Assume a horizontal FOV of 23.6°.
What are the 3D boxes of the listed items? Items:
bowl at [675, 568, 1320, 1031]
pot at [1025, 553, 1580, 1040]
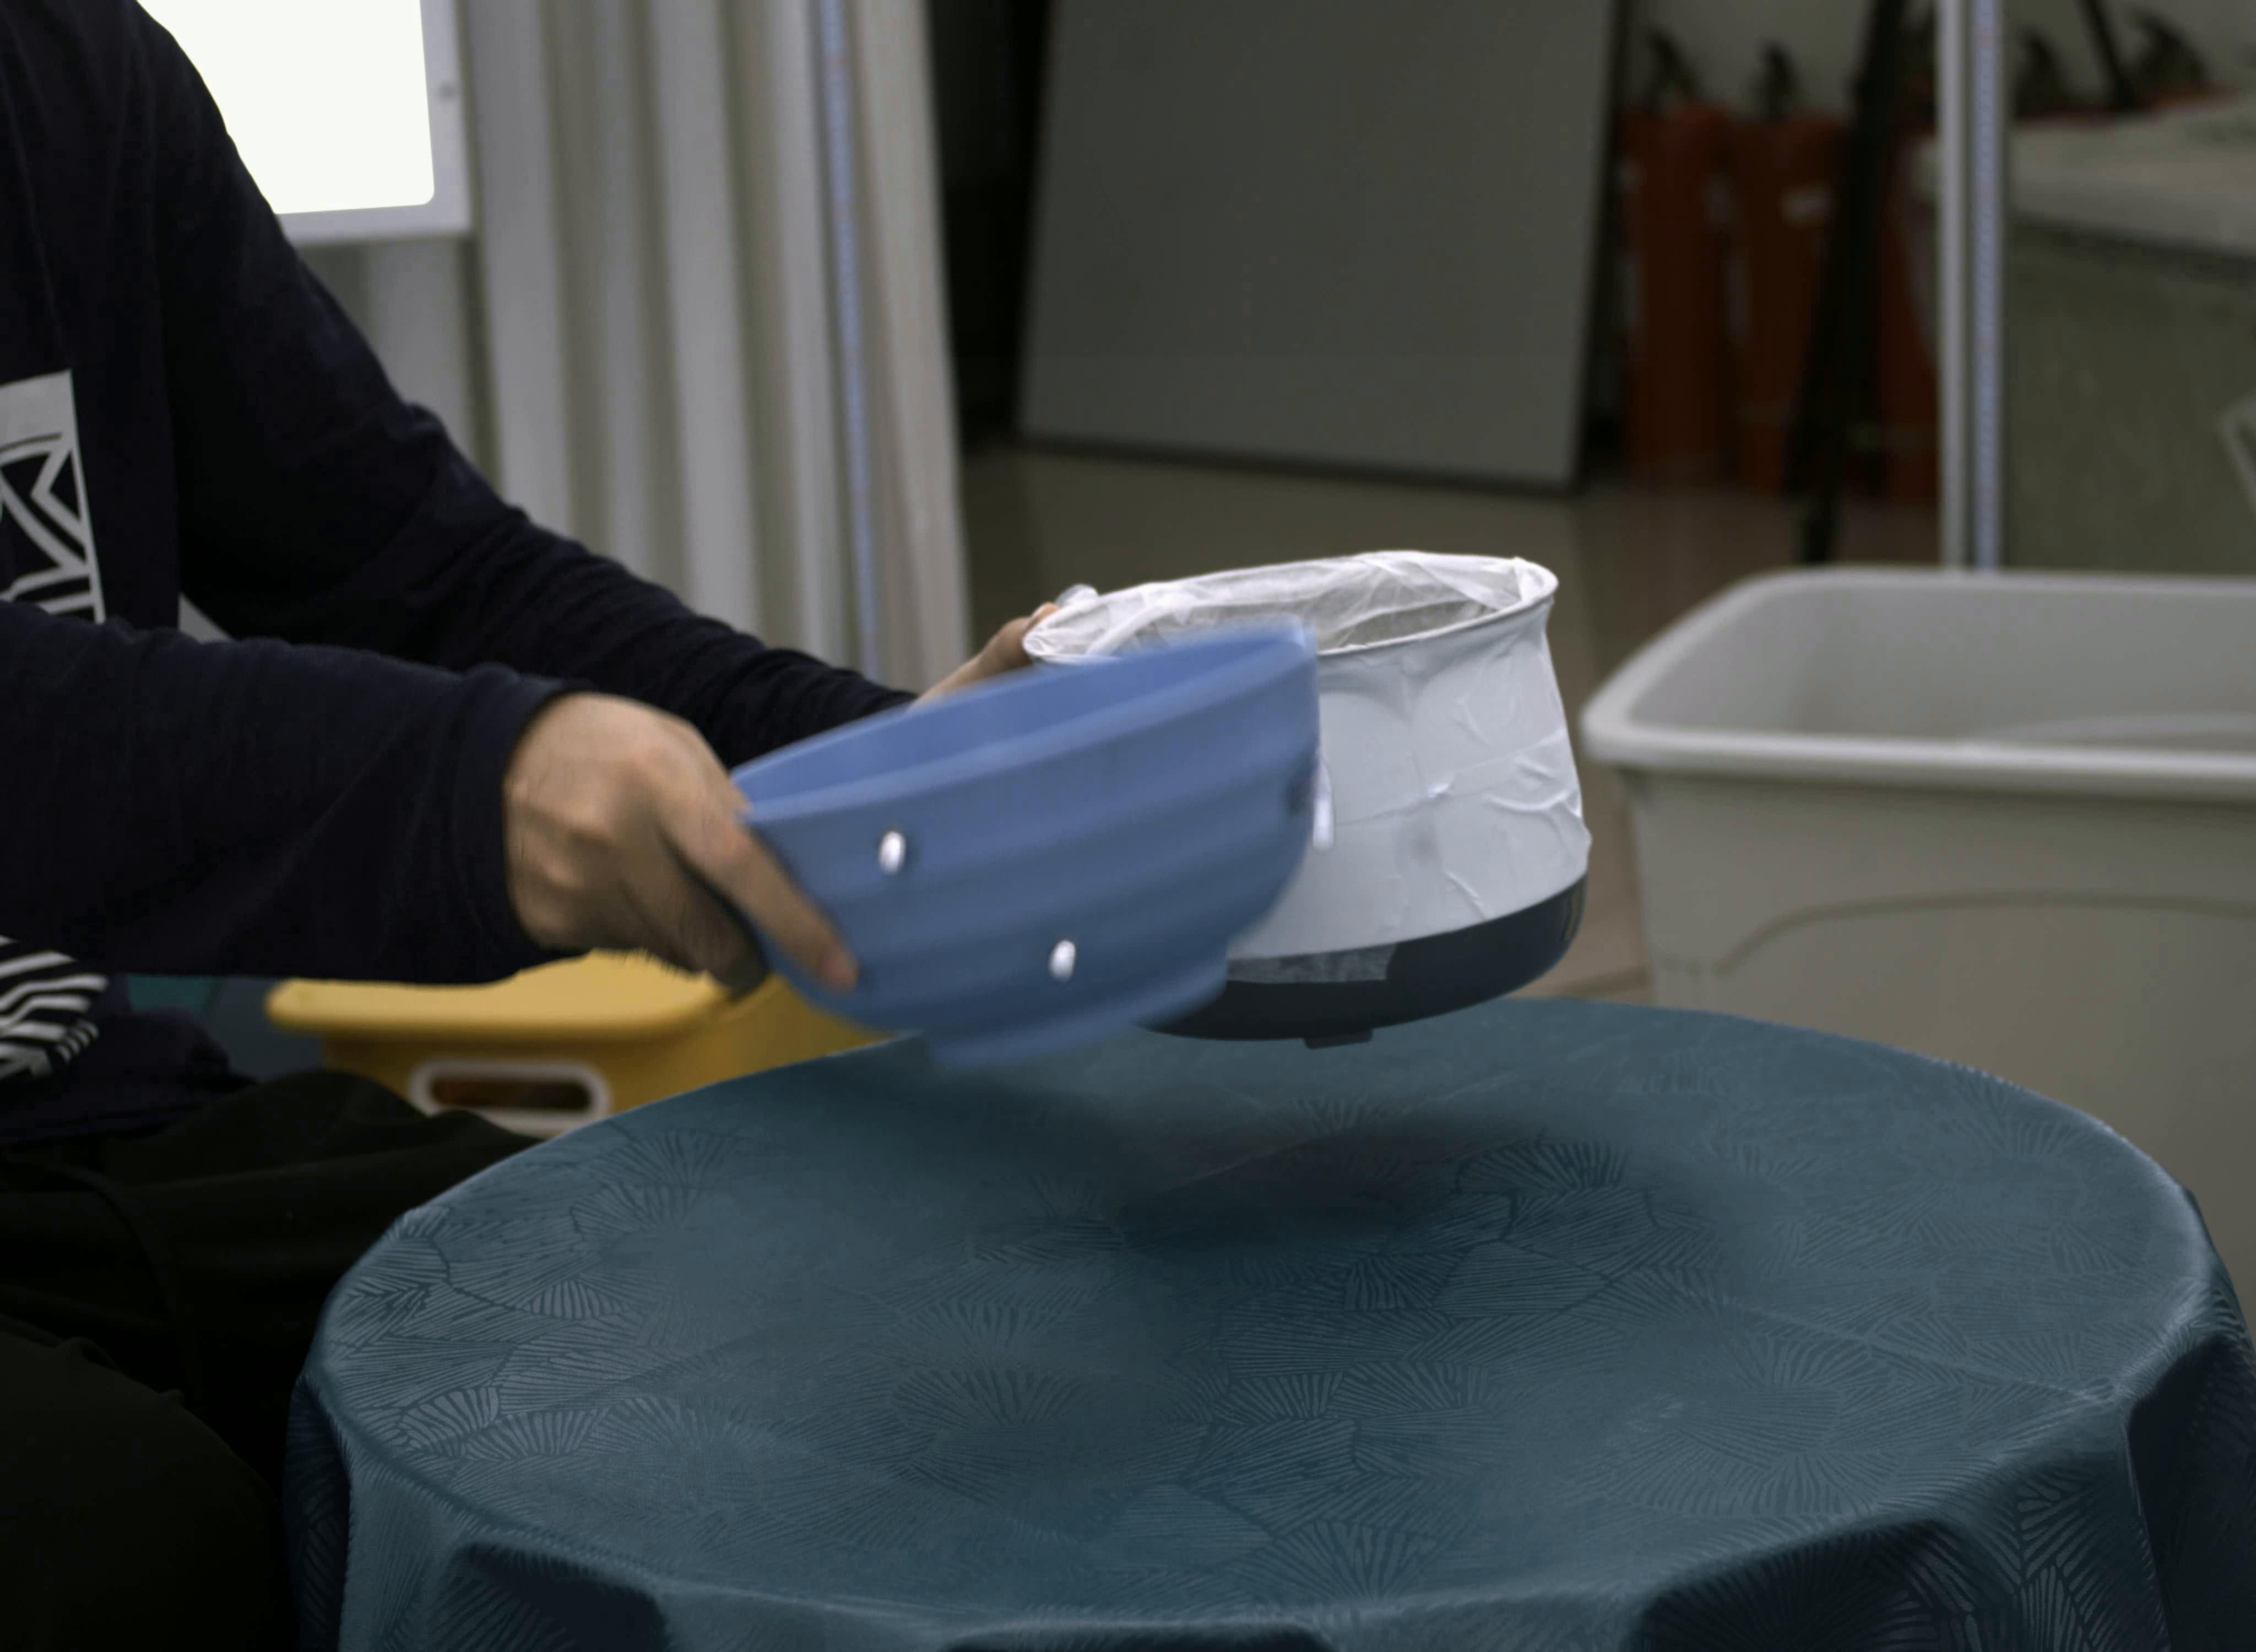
[{"bbox_3d":[-0.027,0.000,1.578,0.194,0.096,0.196,-17,9,2],"label":"bowl"},{"bbox_3d":[0.039,-0.014,1.787,0.236,0.138,0.175,5,13,45],"label":"pot"}]
